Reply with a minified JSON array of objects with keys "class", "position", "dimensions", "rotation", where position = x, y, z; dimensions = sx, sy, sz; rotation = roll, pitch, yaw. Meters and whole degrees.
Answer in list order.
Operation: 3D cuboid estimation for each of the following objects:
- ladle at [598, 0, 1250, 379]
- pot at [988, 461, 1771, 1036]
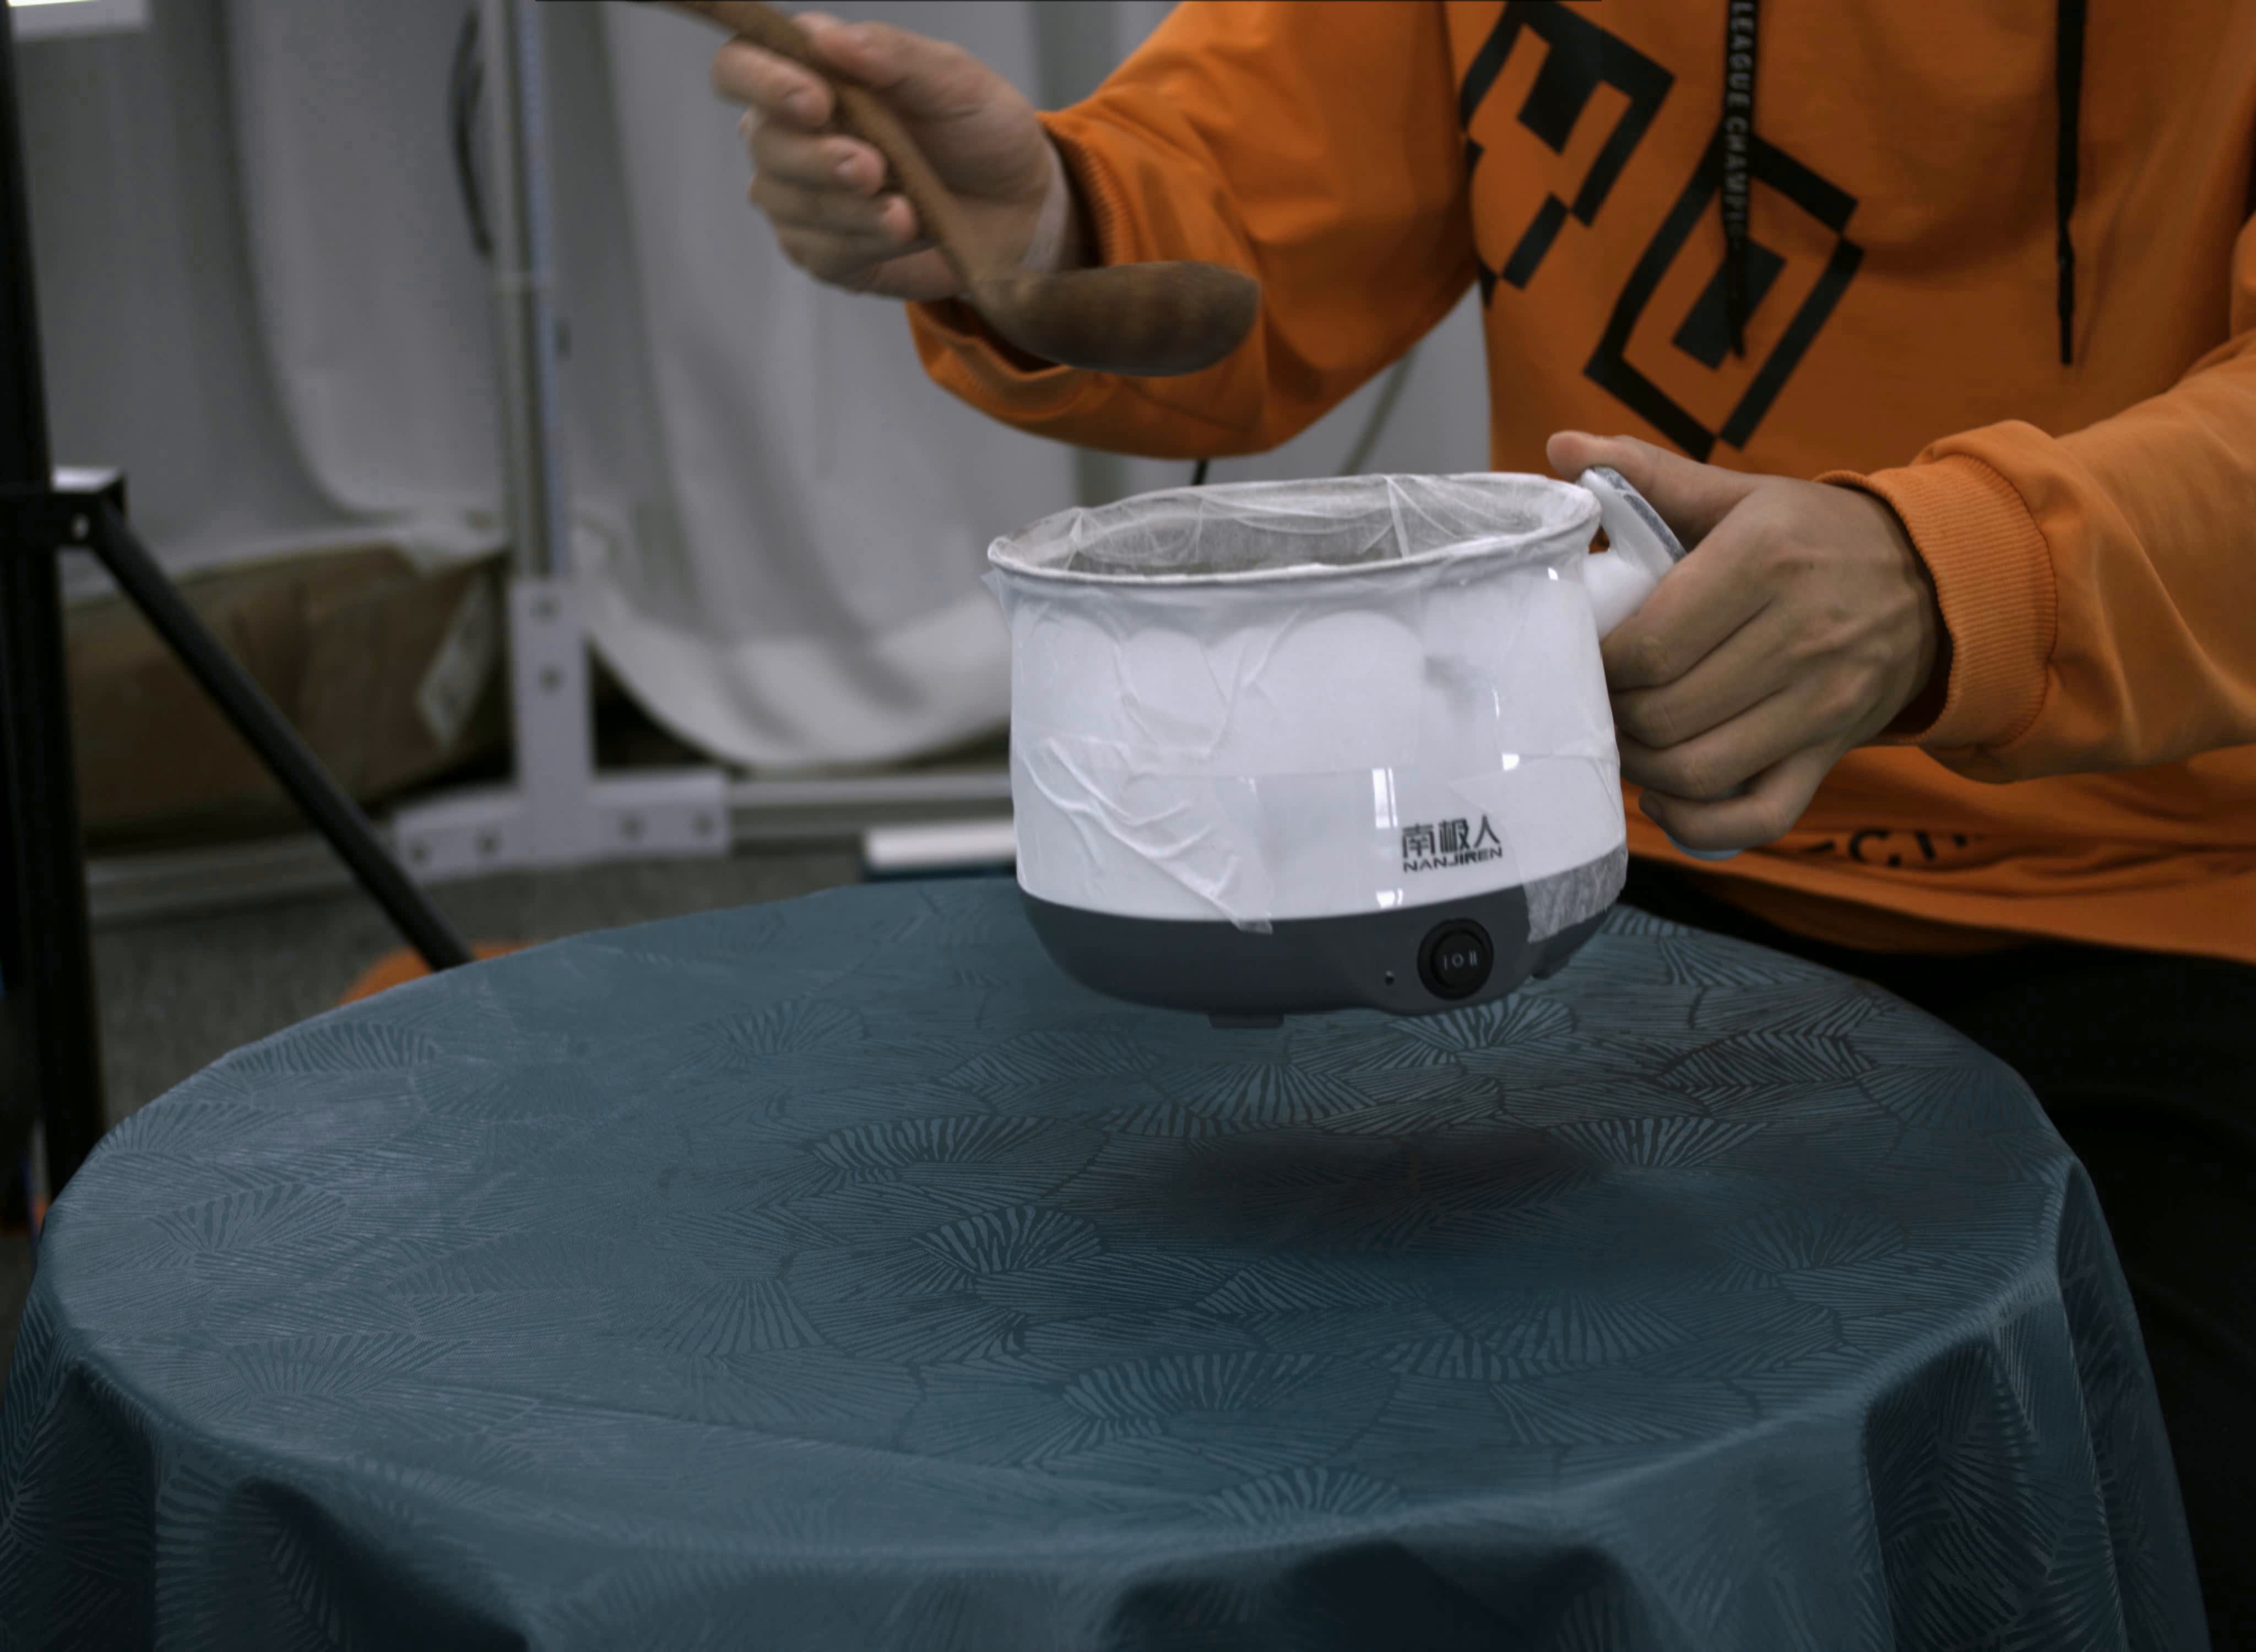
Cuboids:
[{"class":"ladle","position":[-0.066,-0.210,1.618],"dimensions":[0.265,0.065,0.074],"rotation":[42,16,30]},{"class":"pot","position":[0.078,-0.028,1.541],"dimensions":[0.229,0.136,0.182],"rotation":[-10,13,-22]}]
